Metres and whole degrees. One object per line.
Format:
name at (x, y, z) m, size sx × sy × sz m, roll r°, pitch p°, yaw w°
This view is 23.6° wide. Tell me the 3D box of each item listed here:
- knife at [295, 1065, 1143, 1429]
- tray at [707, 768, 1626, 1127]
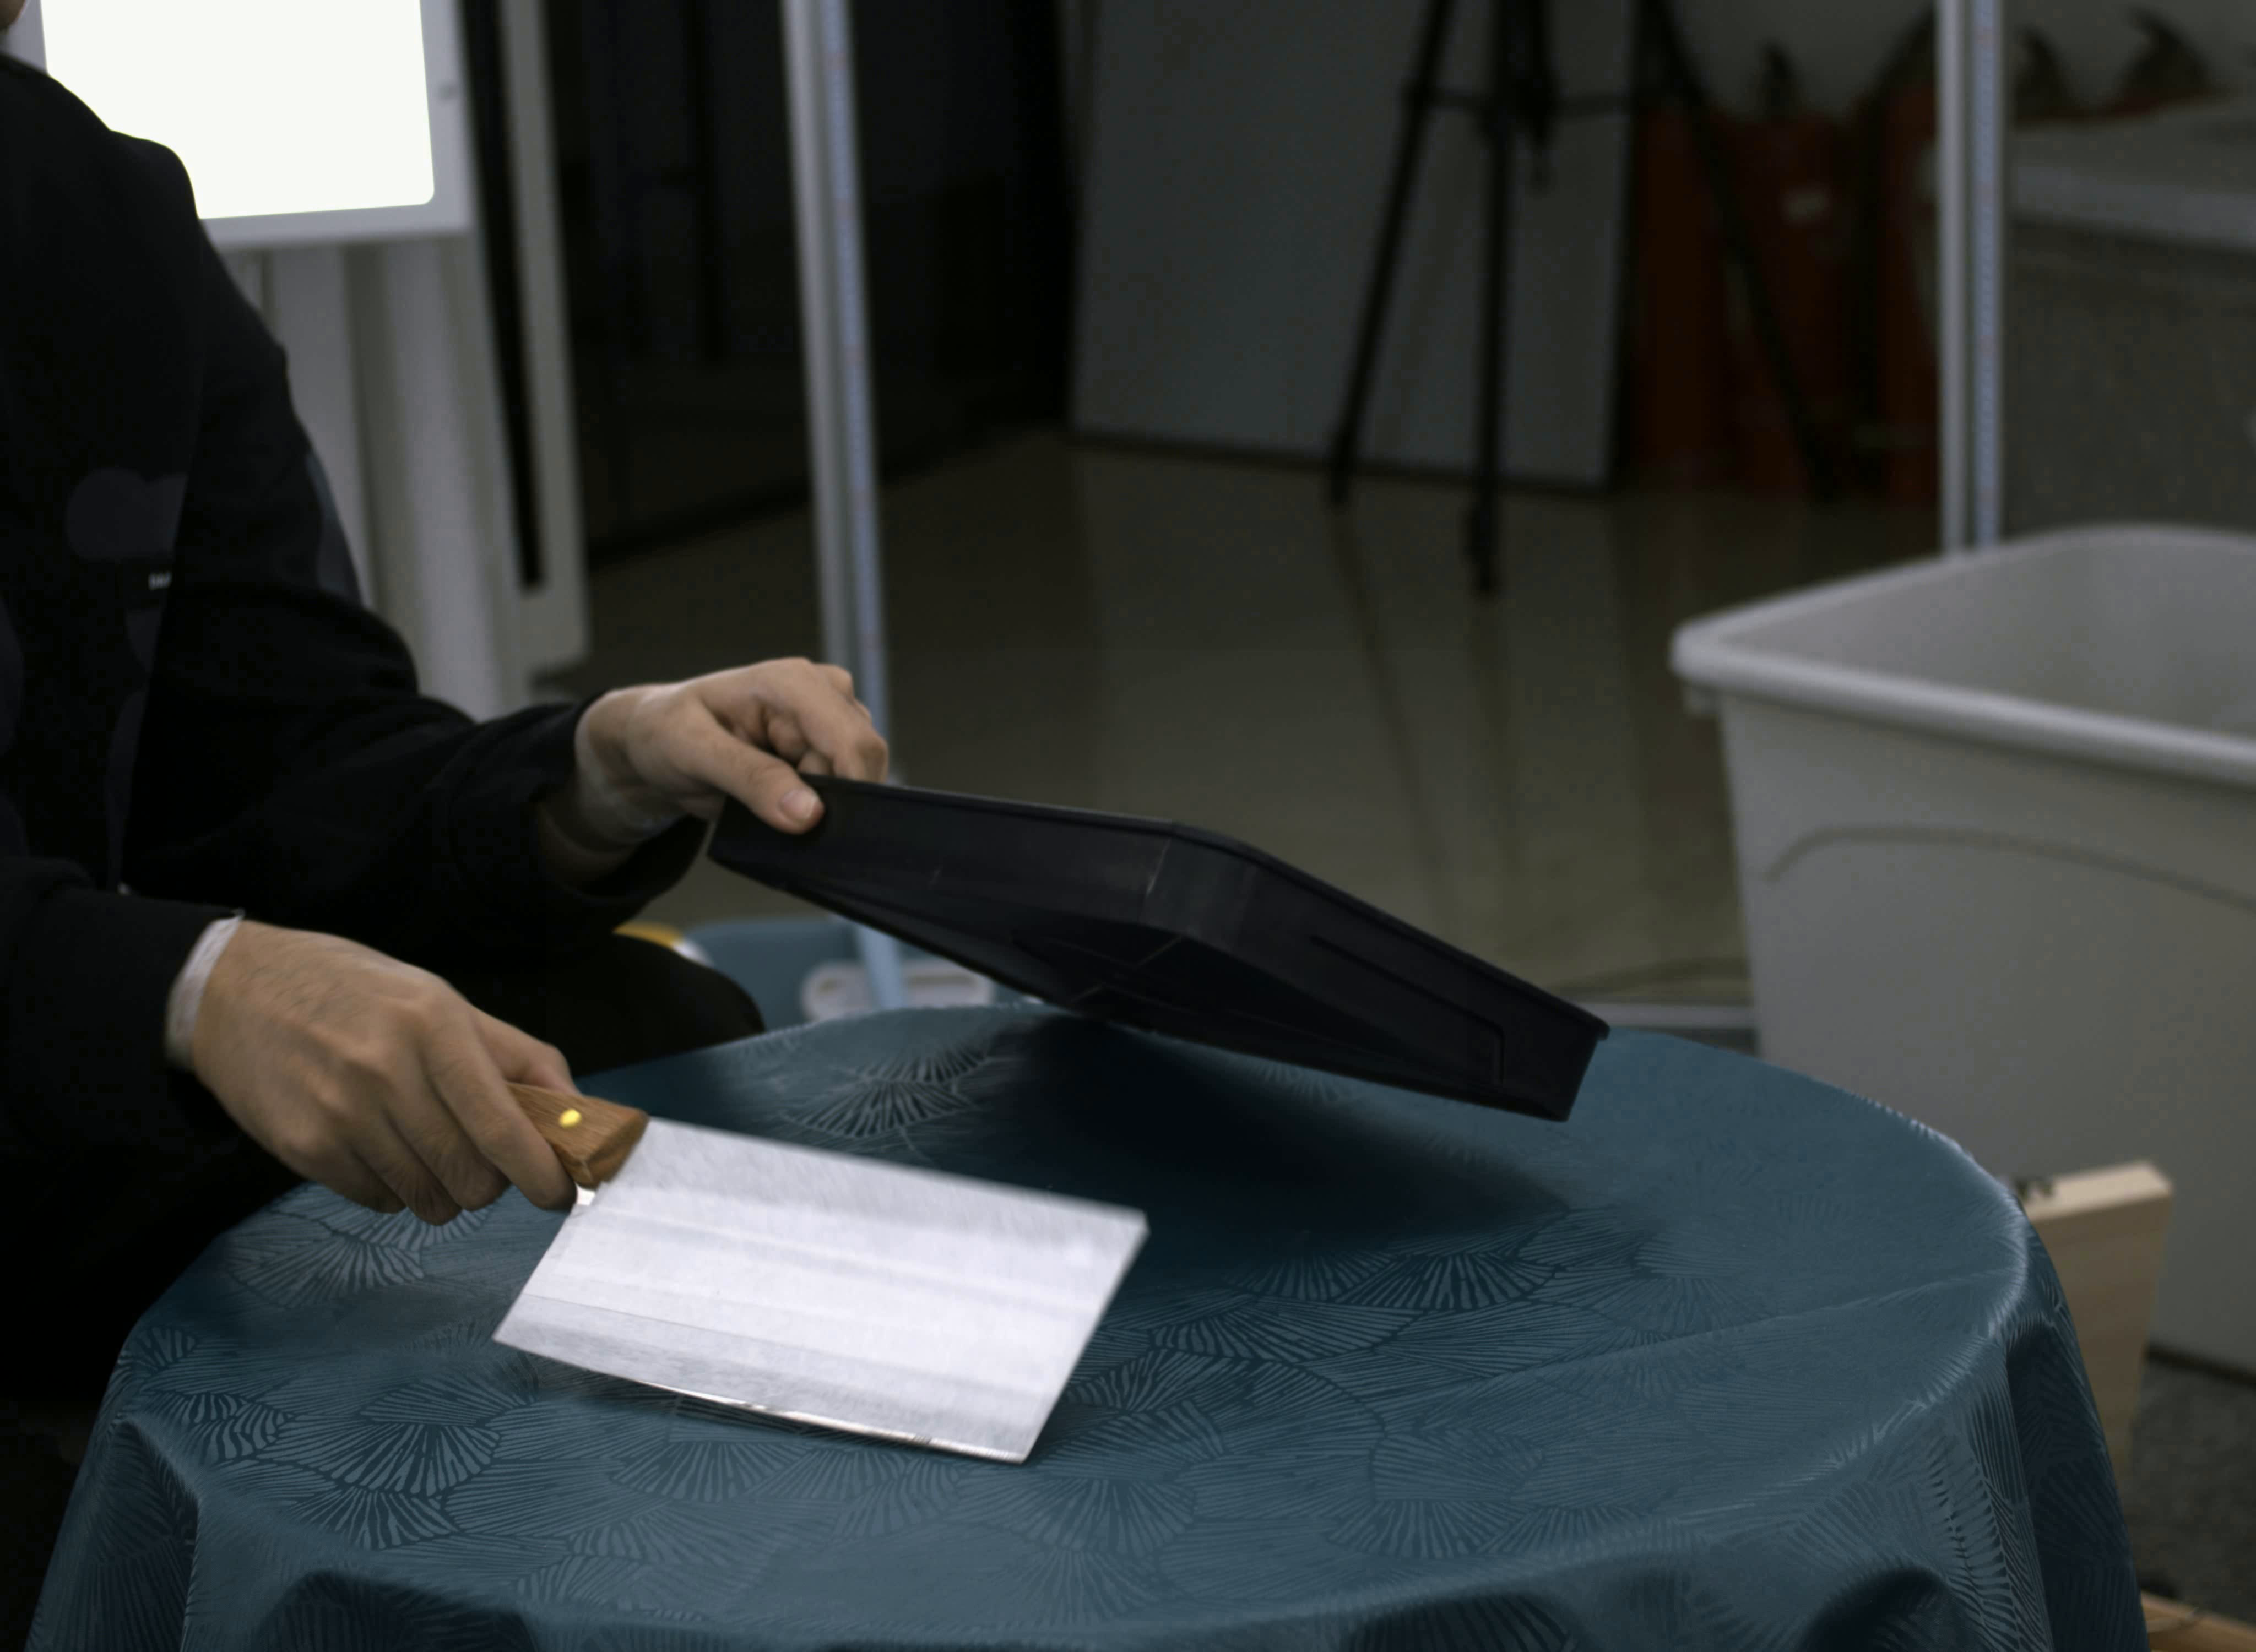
knife at (-0.140, 0.129, 1.631) m, size 0.307 × 0.021 × 0.092 m, roll 10°, pitch 48°, yaw 31°
tray at (0.006, 0.038, 1.797) m, size 0.181 × 0.037 × 0.321 m, roll 26°, pitch -11°, yaw -33°
